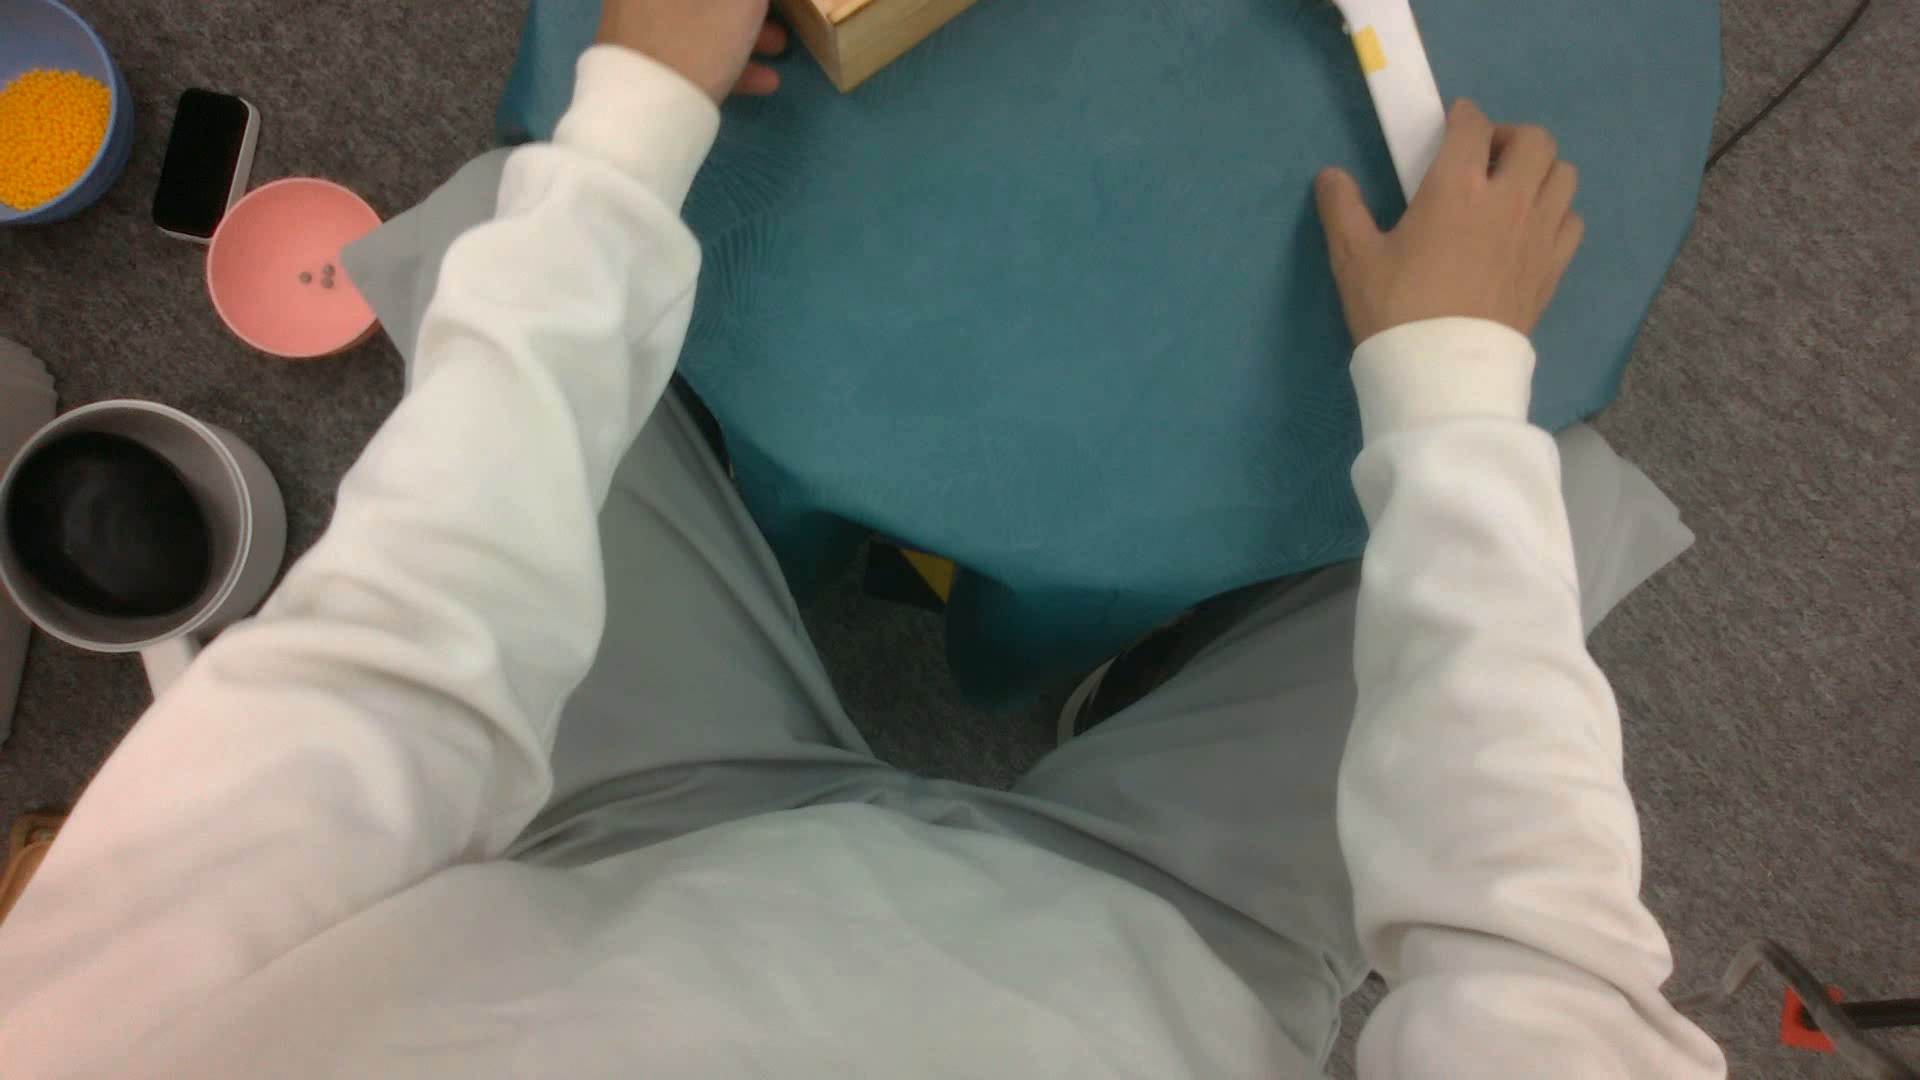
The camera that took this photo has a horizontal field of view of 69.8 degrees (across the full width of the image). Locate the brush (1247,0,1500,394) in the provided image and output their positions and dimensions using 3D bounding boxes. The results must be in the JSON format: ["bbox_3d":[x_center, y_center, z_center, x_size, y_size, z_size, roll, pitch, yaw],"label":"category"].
[{"bbox_3d":[0.213,-0.201,0.700,0.068,0.056,0.266,-22,102,12],"label":"brush"}]

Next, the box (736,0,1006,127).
[{"bbox_3d":[-0.011,-0.315,0.668,0.211,0.080,0.107,-38,89,-4],"label":"box"}]
